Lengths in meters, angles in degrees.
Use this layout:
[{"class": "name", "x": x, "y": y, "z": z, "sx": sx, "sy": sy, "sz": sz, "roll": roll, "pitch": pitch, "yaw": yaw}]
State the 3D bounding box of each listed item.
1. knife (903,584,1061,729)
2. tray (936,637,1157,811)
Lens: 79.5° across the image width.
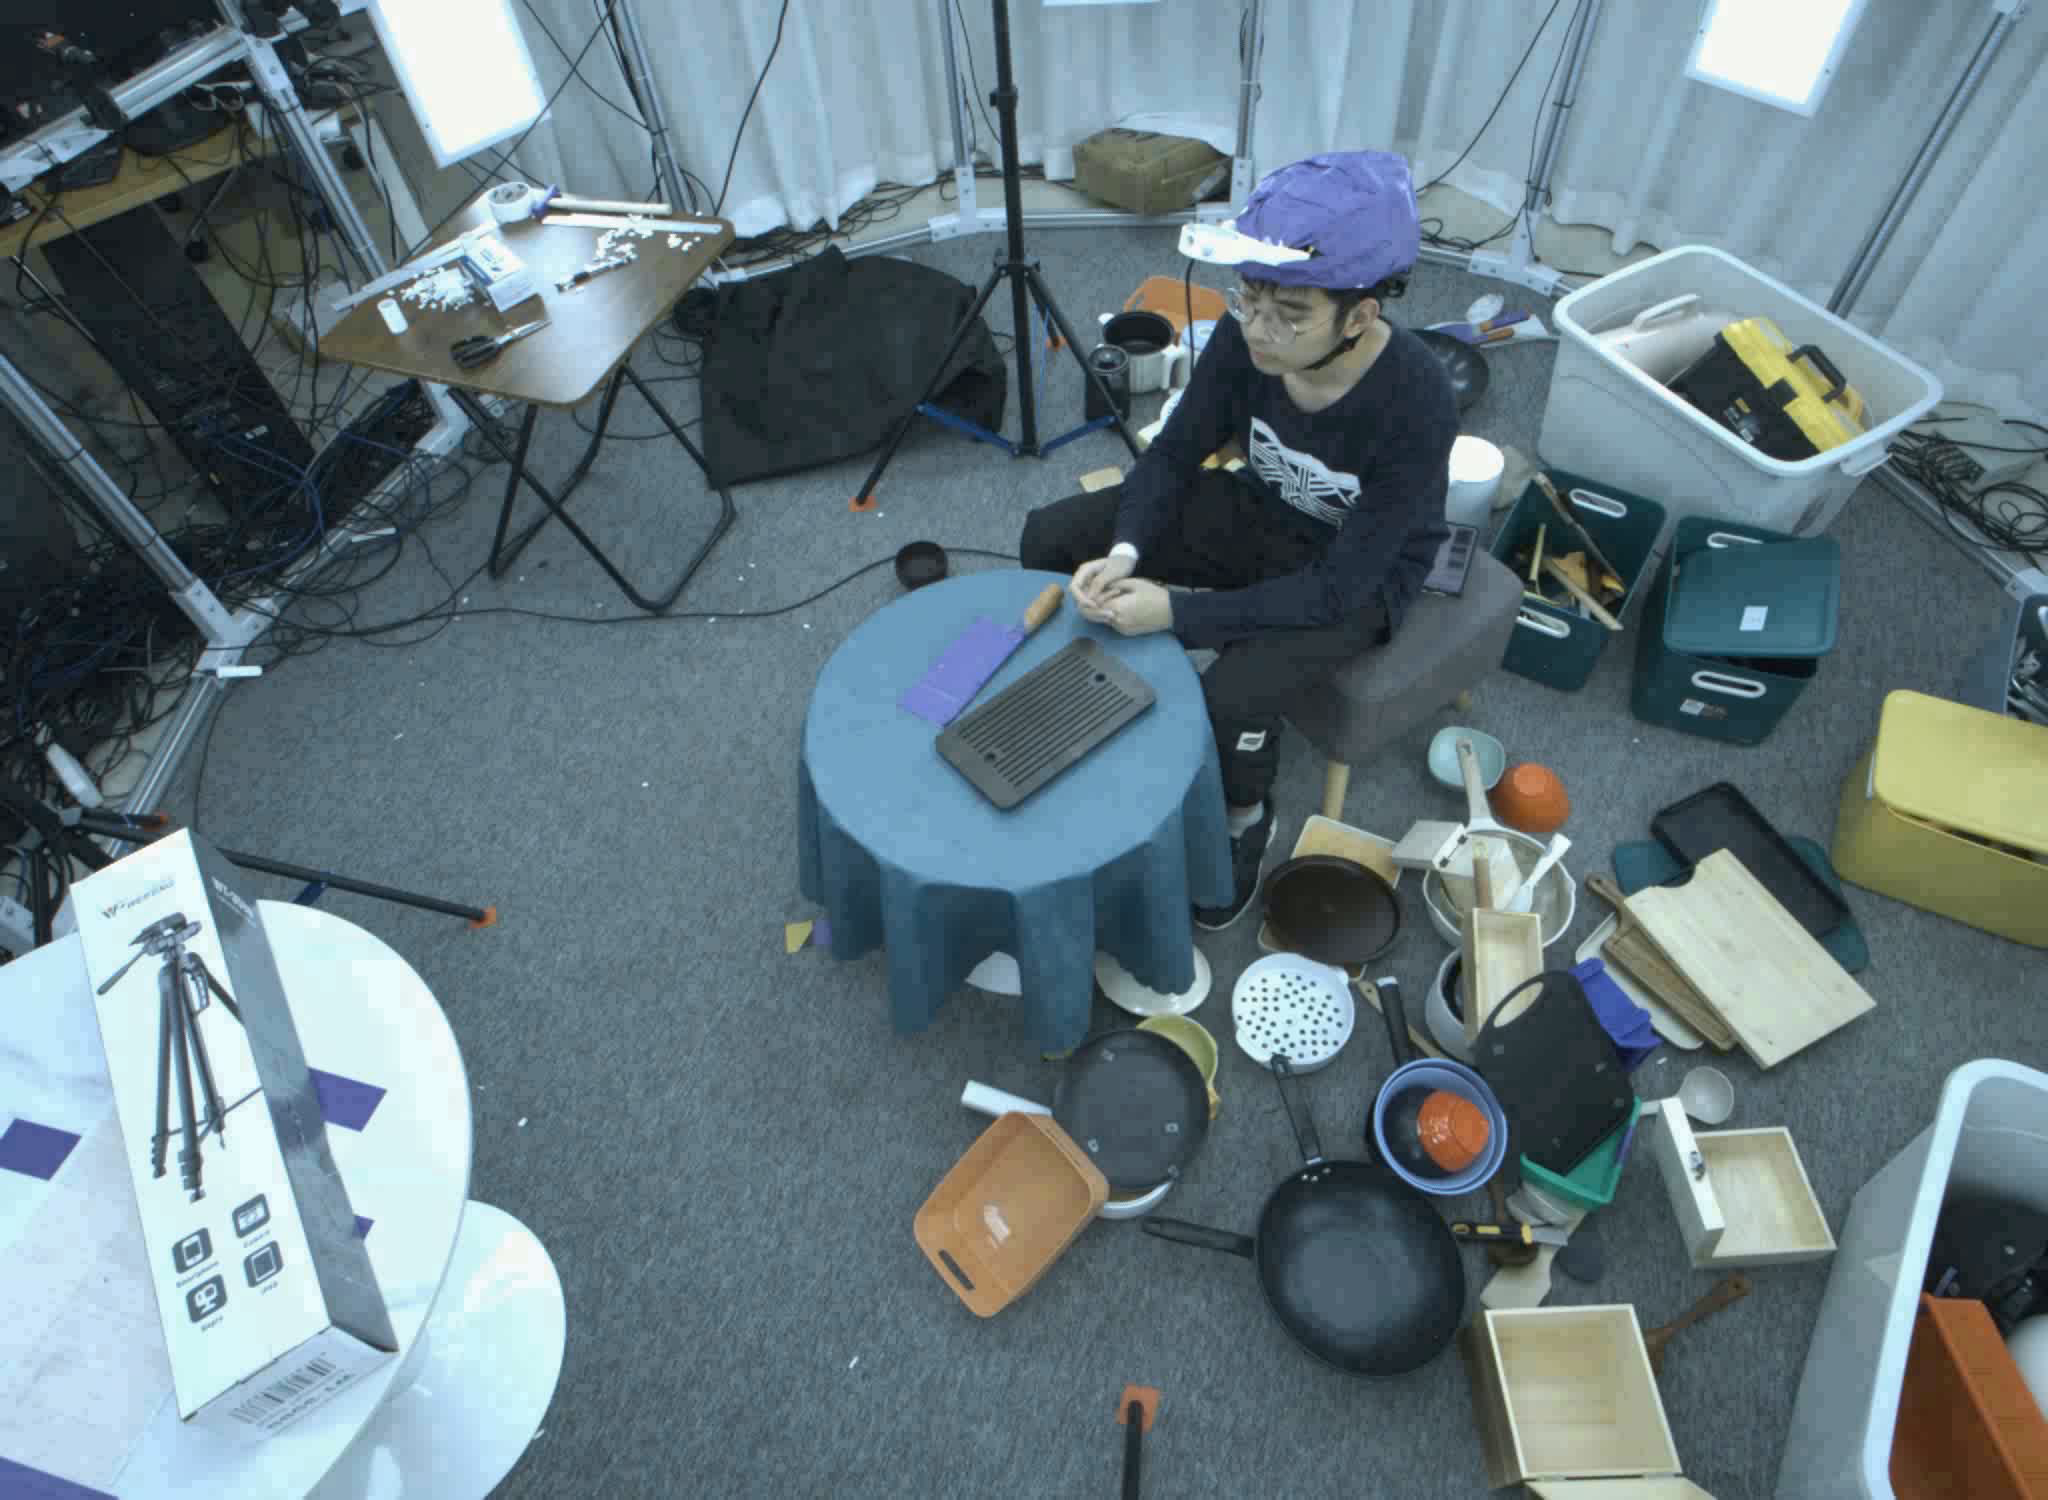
[{"class": "knife", "x": -0.066, "y": -0.160, "z": 1.895, "sx": 0.102, "sy": 0.032, "sz": 0.316, "roll": 29, "pitch": 60, "yaw": 20}, {"class": "tray", "x": 0.035, "y": -0.043, "z": 1.813, "sx": 0.308, "sy": 0.019, "sz": 0.167, "roll": -36, "pitch": 61, "yaw": -22}]
